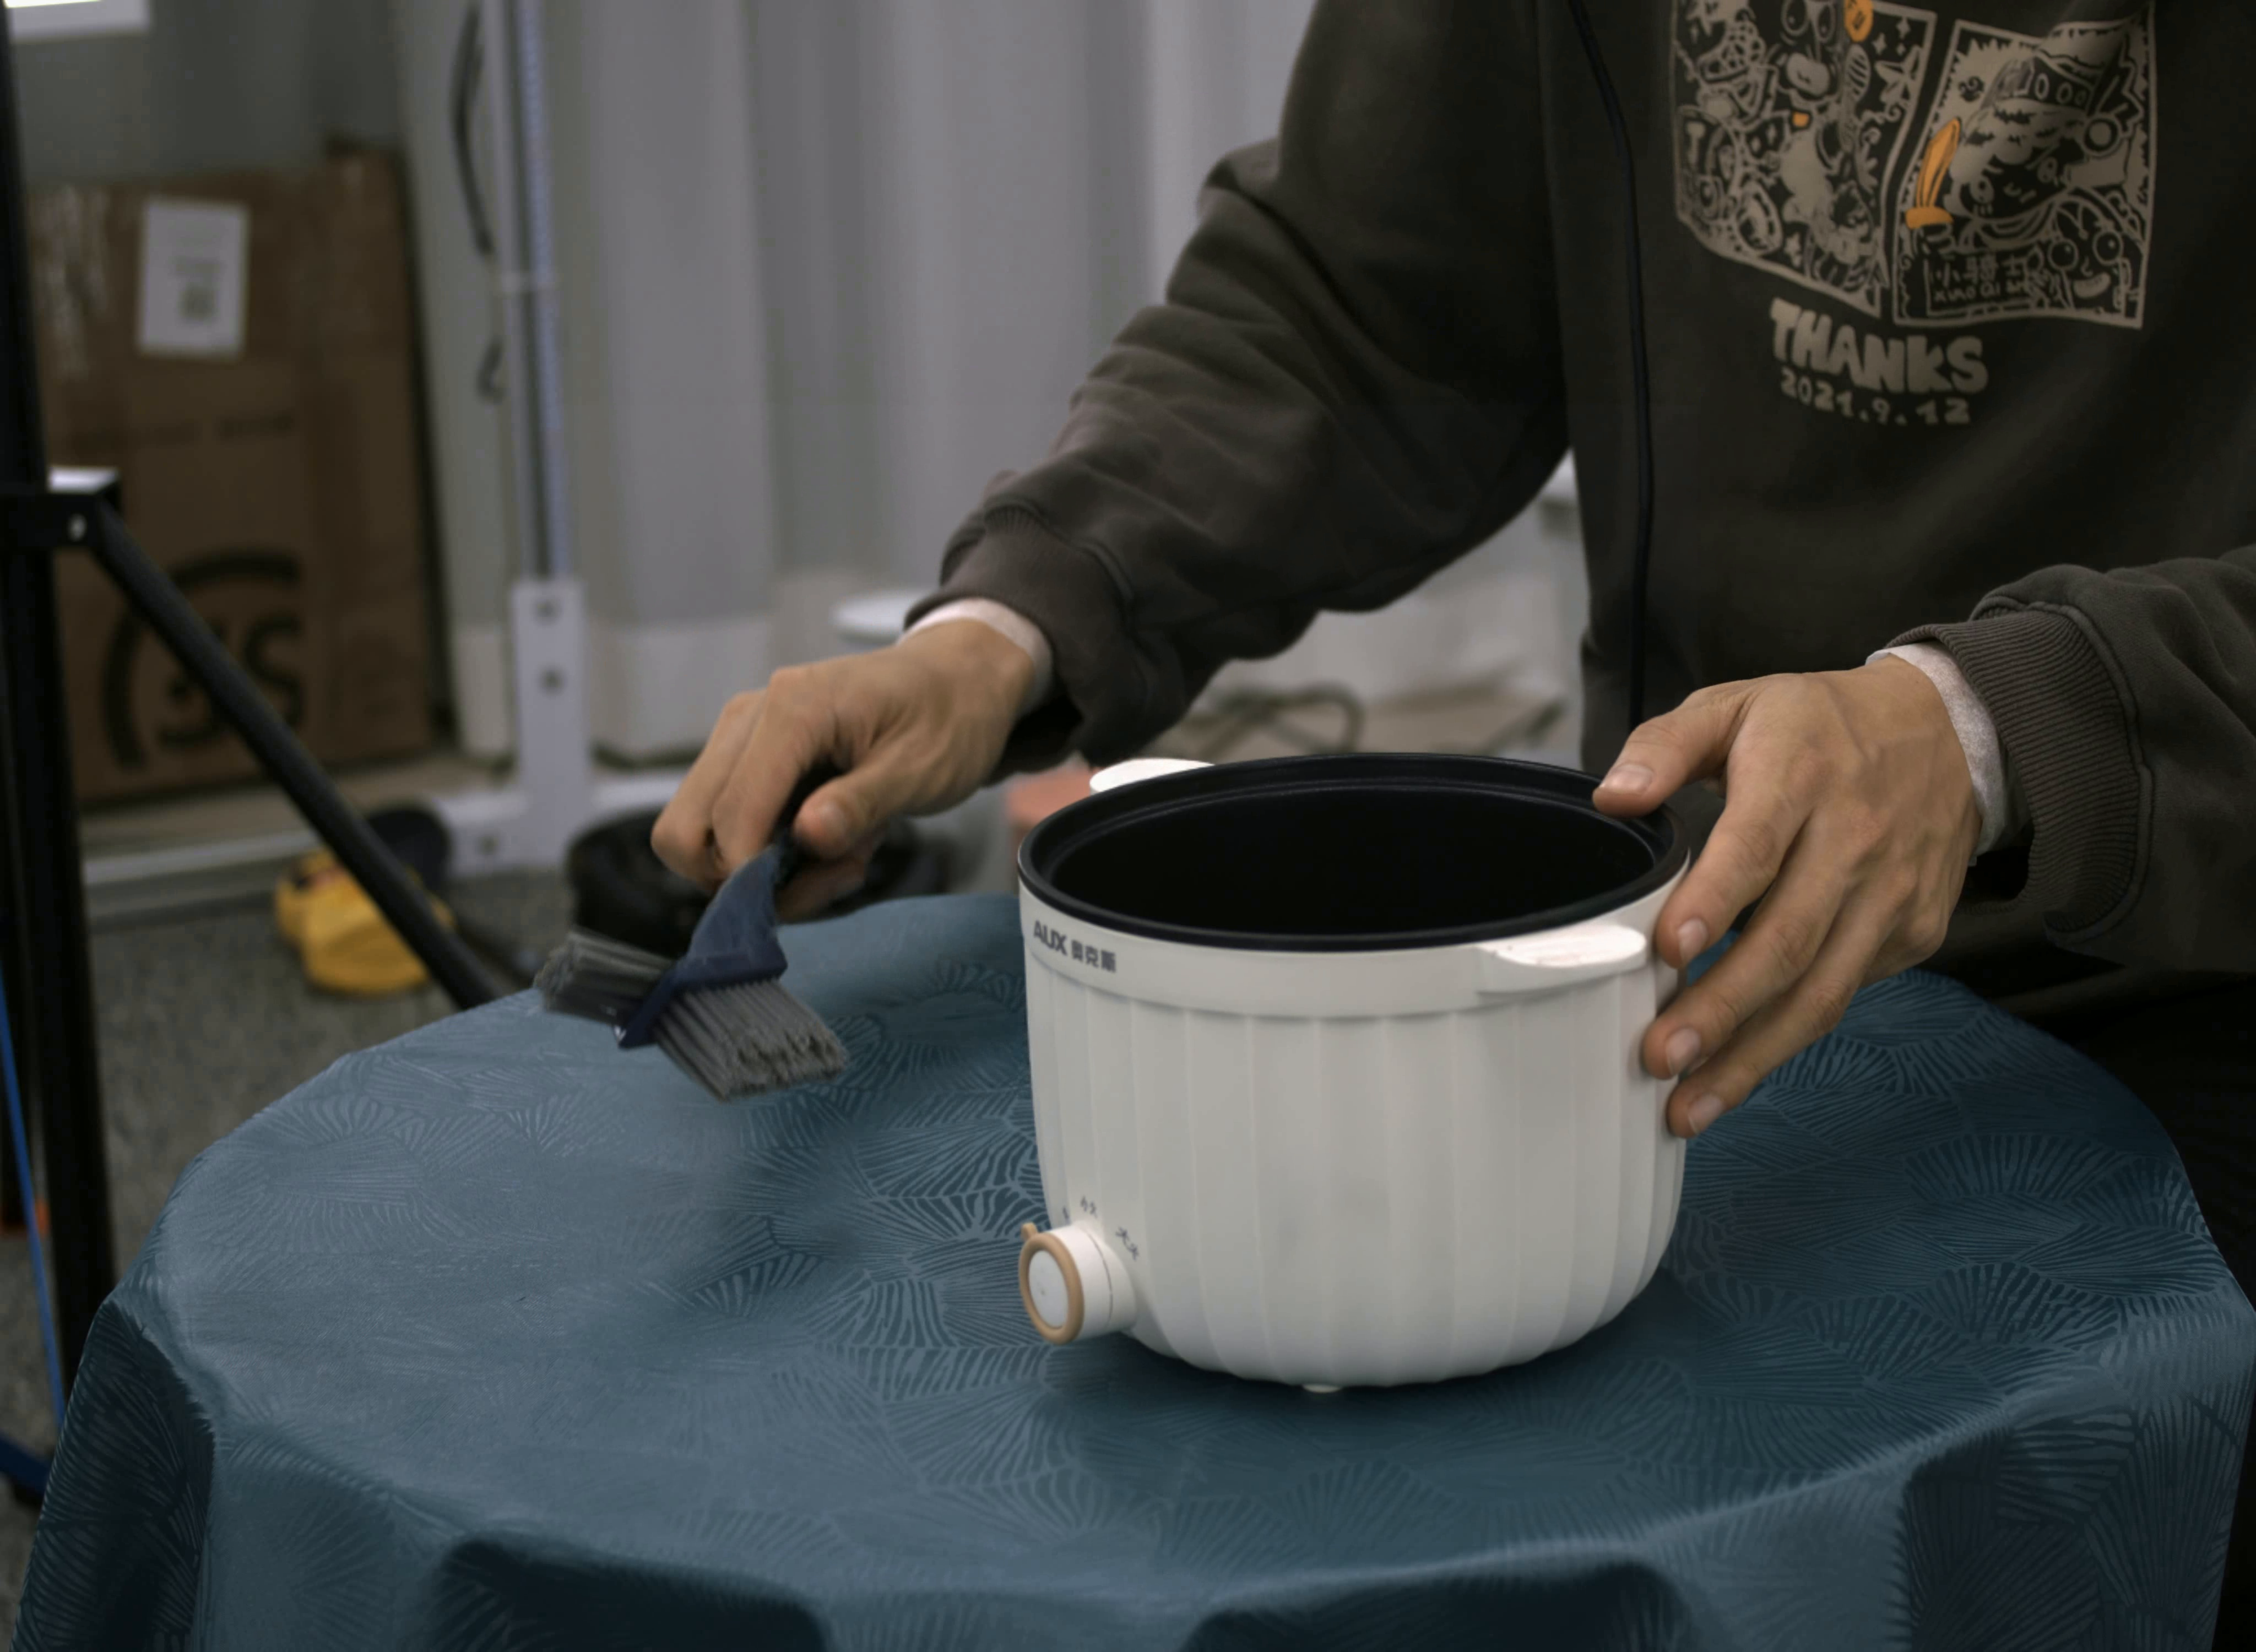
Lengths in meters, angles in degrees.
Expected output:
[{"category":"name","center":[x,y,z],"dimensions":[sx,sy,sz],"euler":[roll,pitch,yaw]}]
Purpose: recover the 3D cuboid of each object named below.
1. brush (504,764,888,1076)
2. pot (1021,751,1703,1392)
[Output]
[{"category":"brush","center":[-0.122,0.016,1.619],"dimensions":[0.095,0.034,0.273],"euler":[34,16,-7]},{"category":"pot","center":[0.059,0.068,1.437],"dimensions":[0.186,0.143,0.245],"euler":[-8,15,-30]}]
